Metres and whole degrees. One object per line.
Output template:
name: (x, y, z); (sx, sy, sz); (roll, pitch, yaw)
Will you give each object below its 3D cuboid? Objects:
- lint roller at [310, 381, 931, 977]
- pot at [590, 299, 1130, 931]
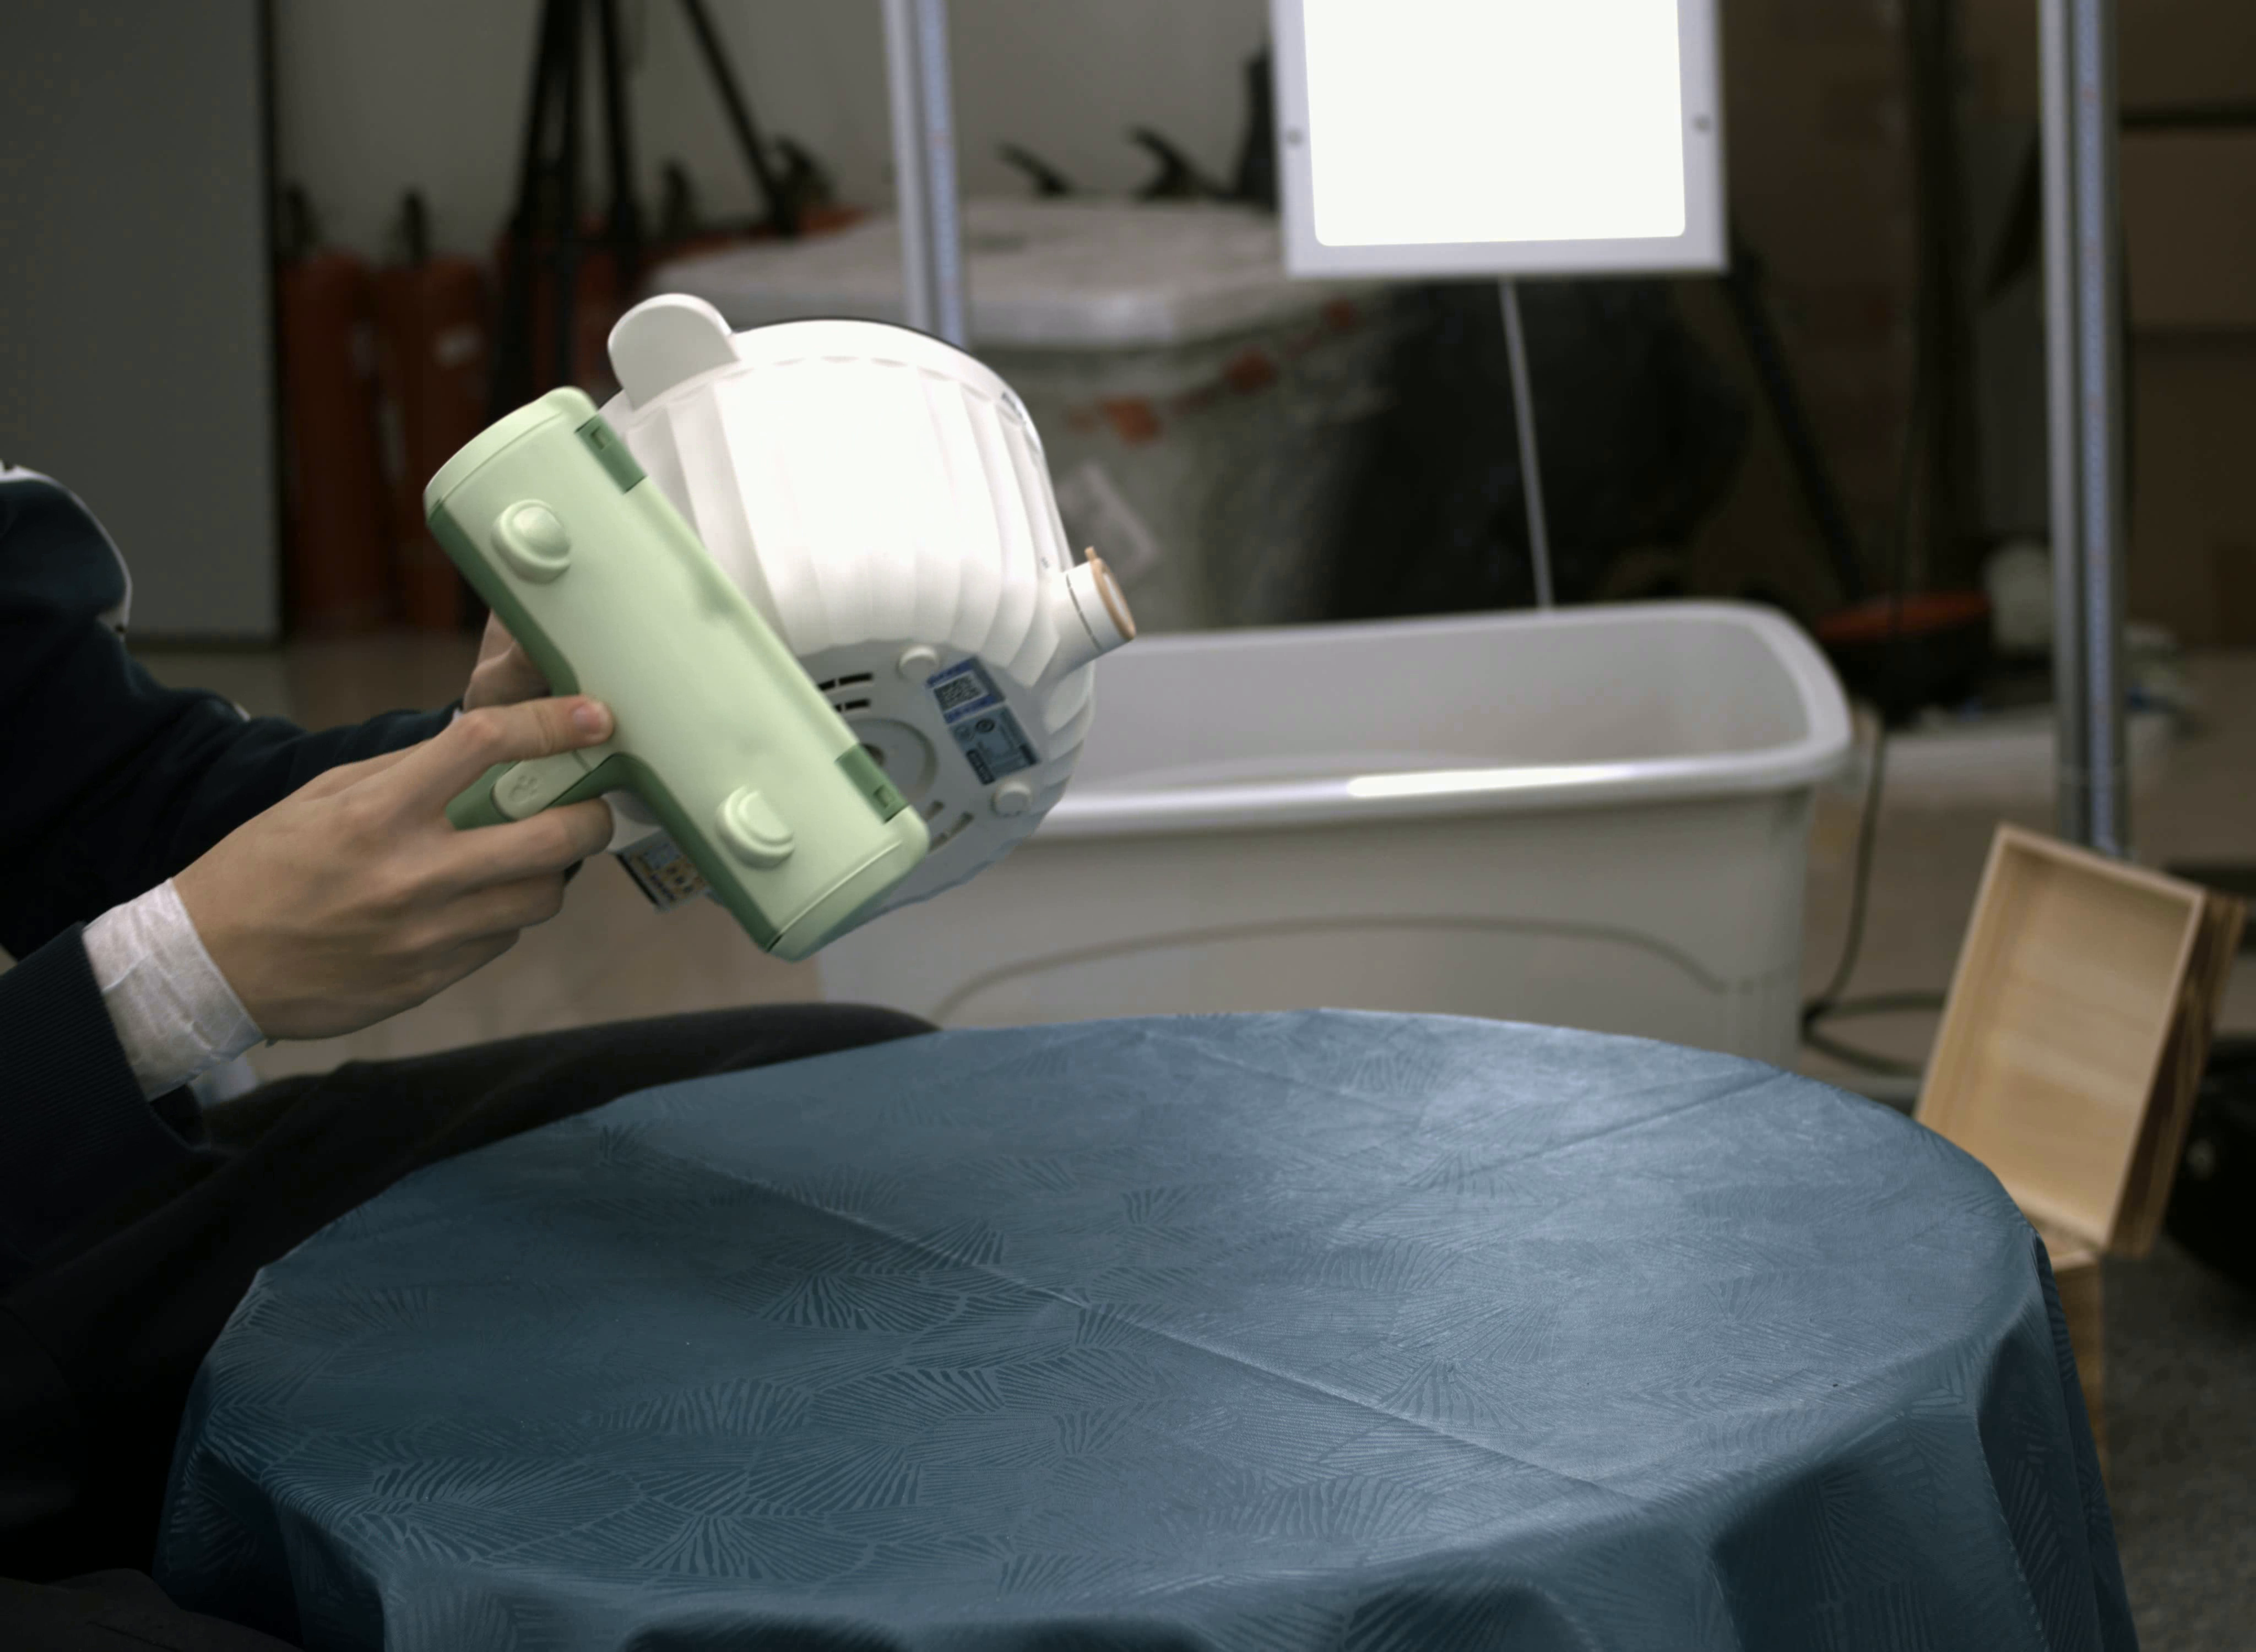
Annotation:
lint roller: (-0.190, -0.015, 1.757); (0.183, 0.199, 0.082); (-38, -5, -2)
pot: (-0.100, -0.061, 1.875); (0.191, 0.238, 0.143); (-27, 47, 7)
